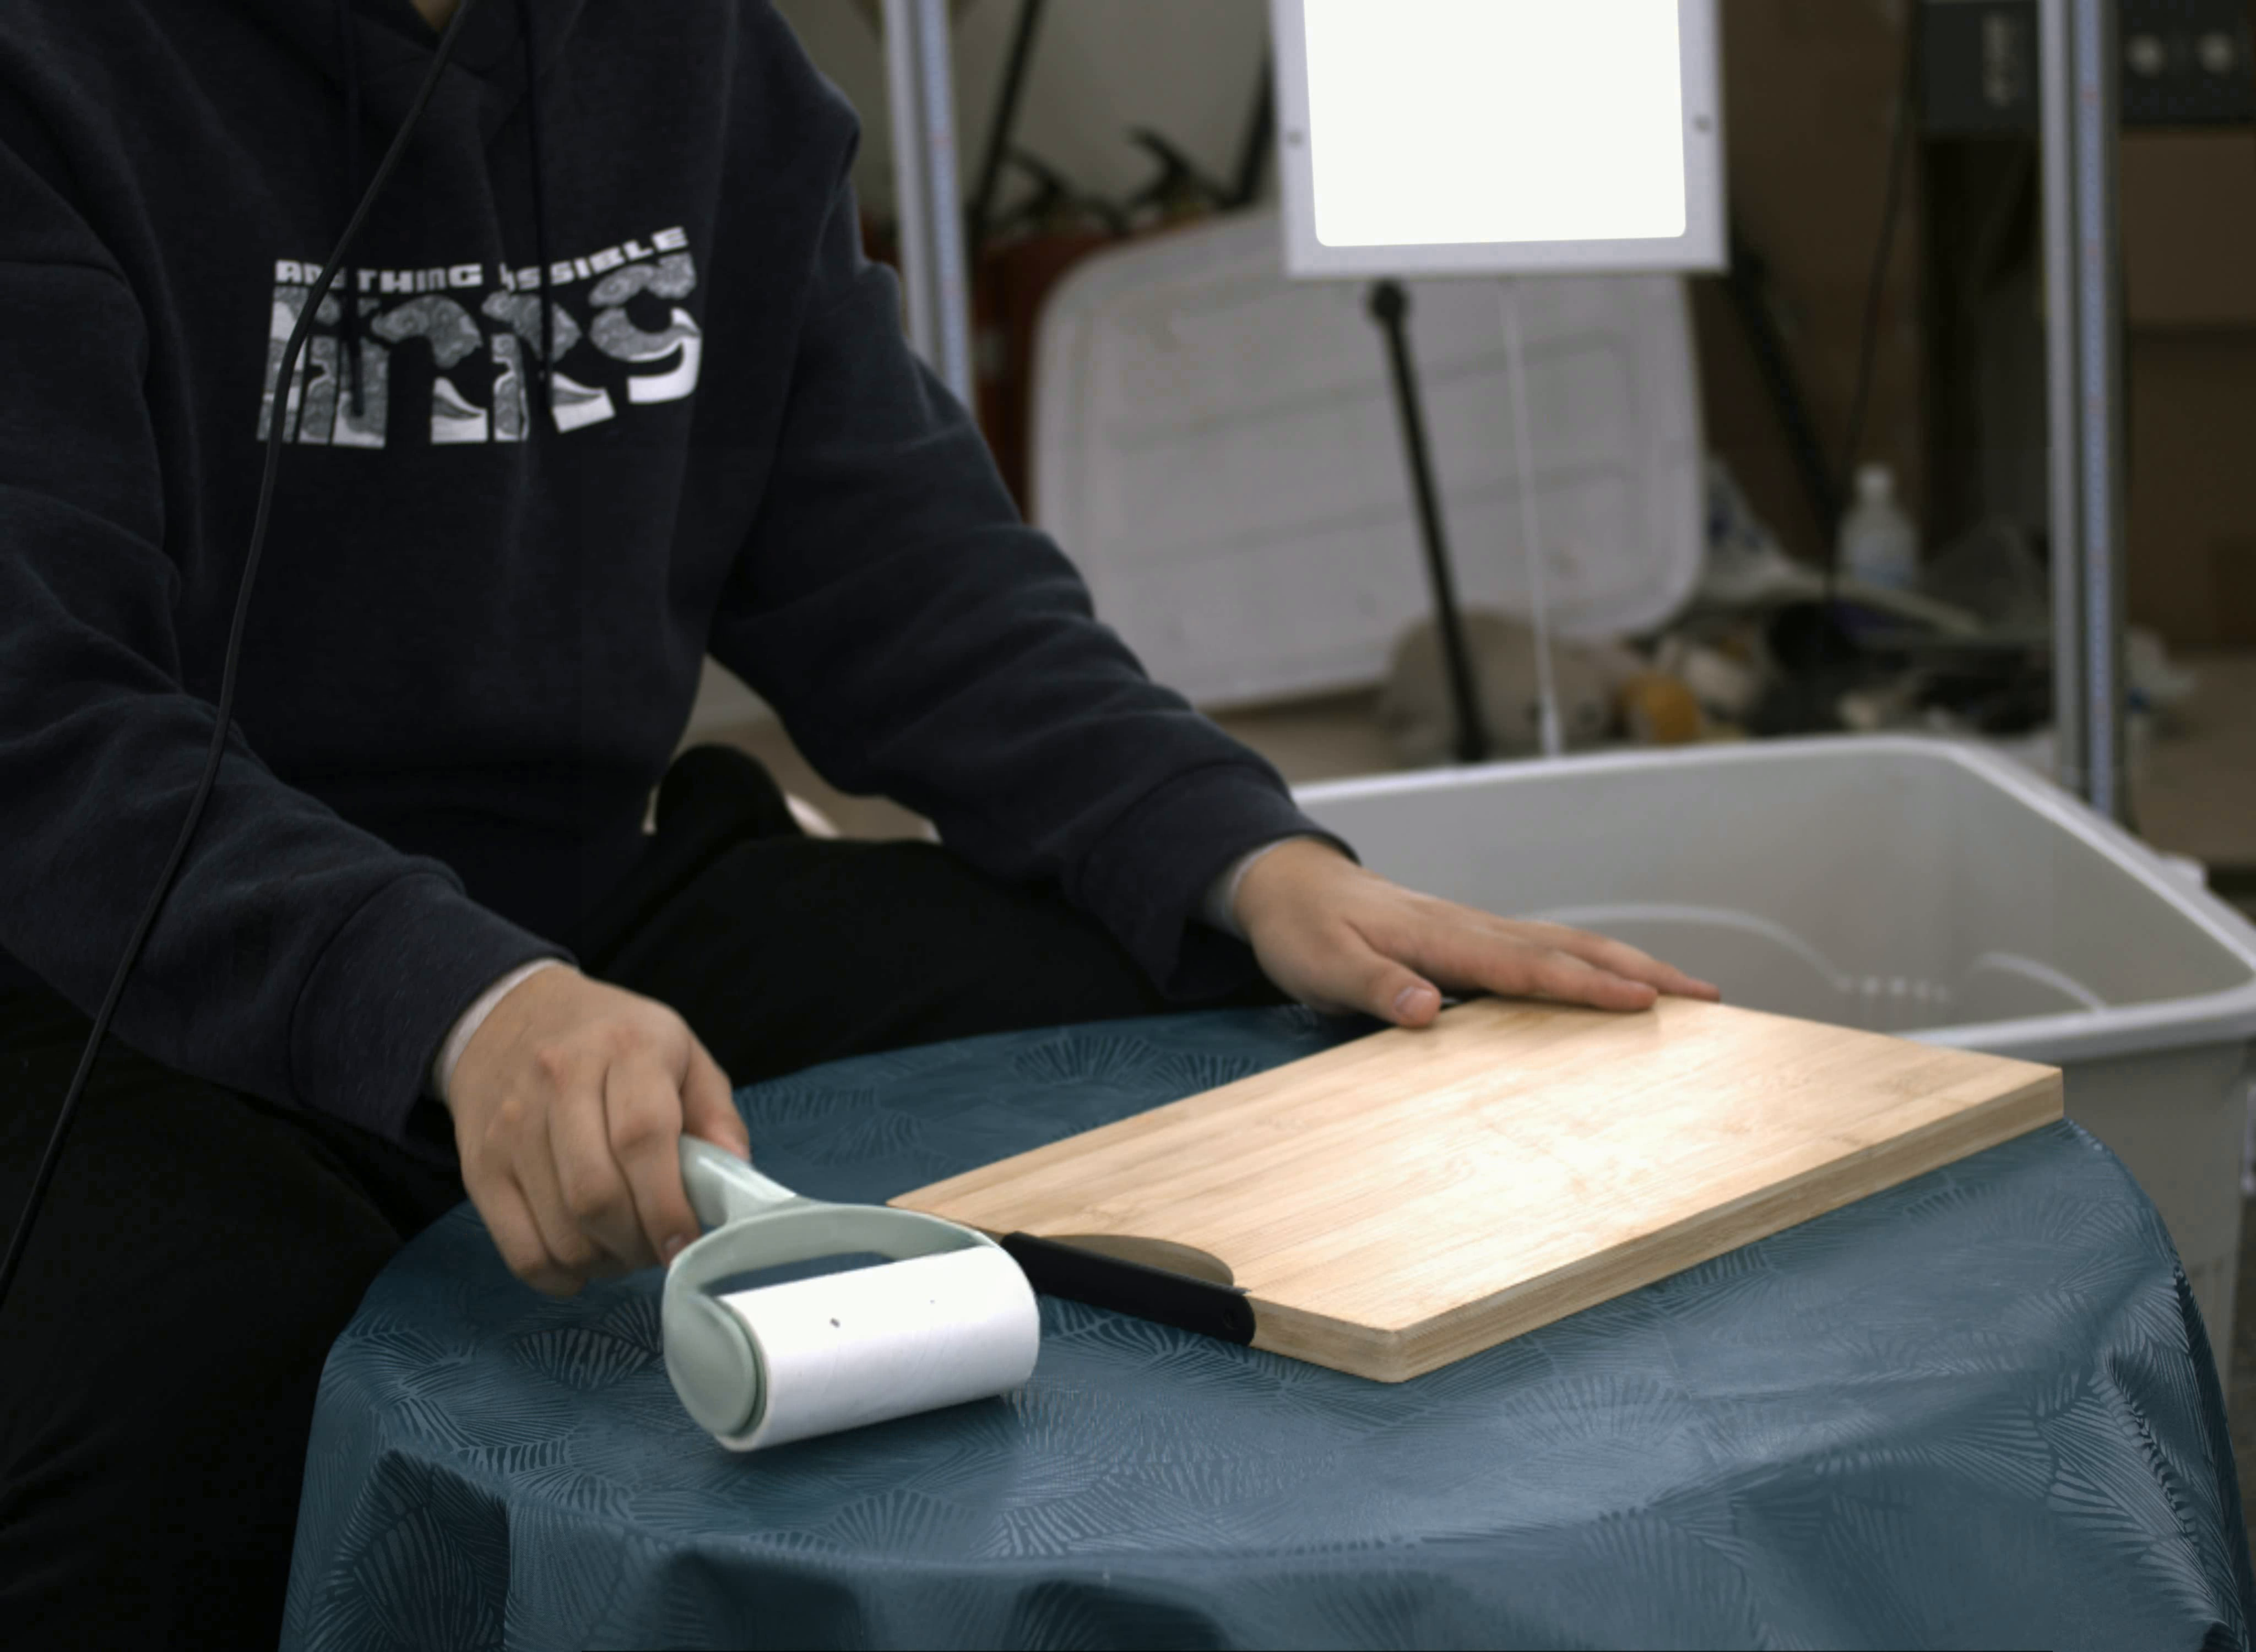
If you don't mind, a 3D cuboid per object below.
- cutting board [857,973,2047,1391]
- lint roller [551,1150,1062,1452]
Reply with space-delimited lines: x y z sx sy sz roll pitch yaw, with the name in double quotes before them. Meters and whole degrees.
"cutting board" 0.117 0.115 1.872 0.340 0.023 0.256 -17 17 -40
"lint roller" -0.118 0.133 1.732 0.114 0.049 0.201 -12 26 -35
